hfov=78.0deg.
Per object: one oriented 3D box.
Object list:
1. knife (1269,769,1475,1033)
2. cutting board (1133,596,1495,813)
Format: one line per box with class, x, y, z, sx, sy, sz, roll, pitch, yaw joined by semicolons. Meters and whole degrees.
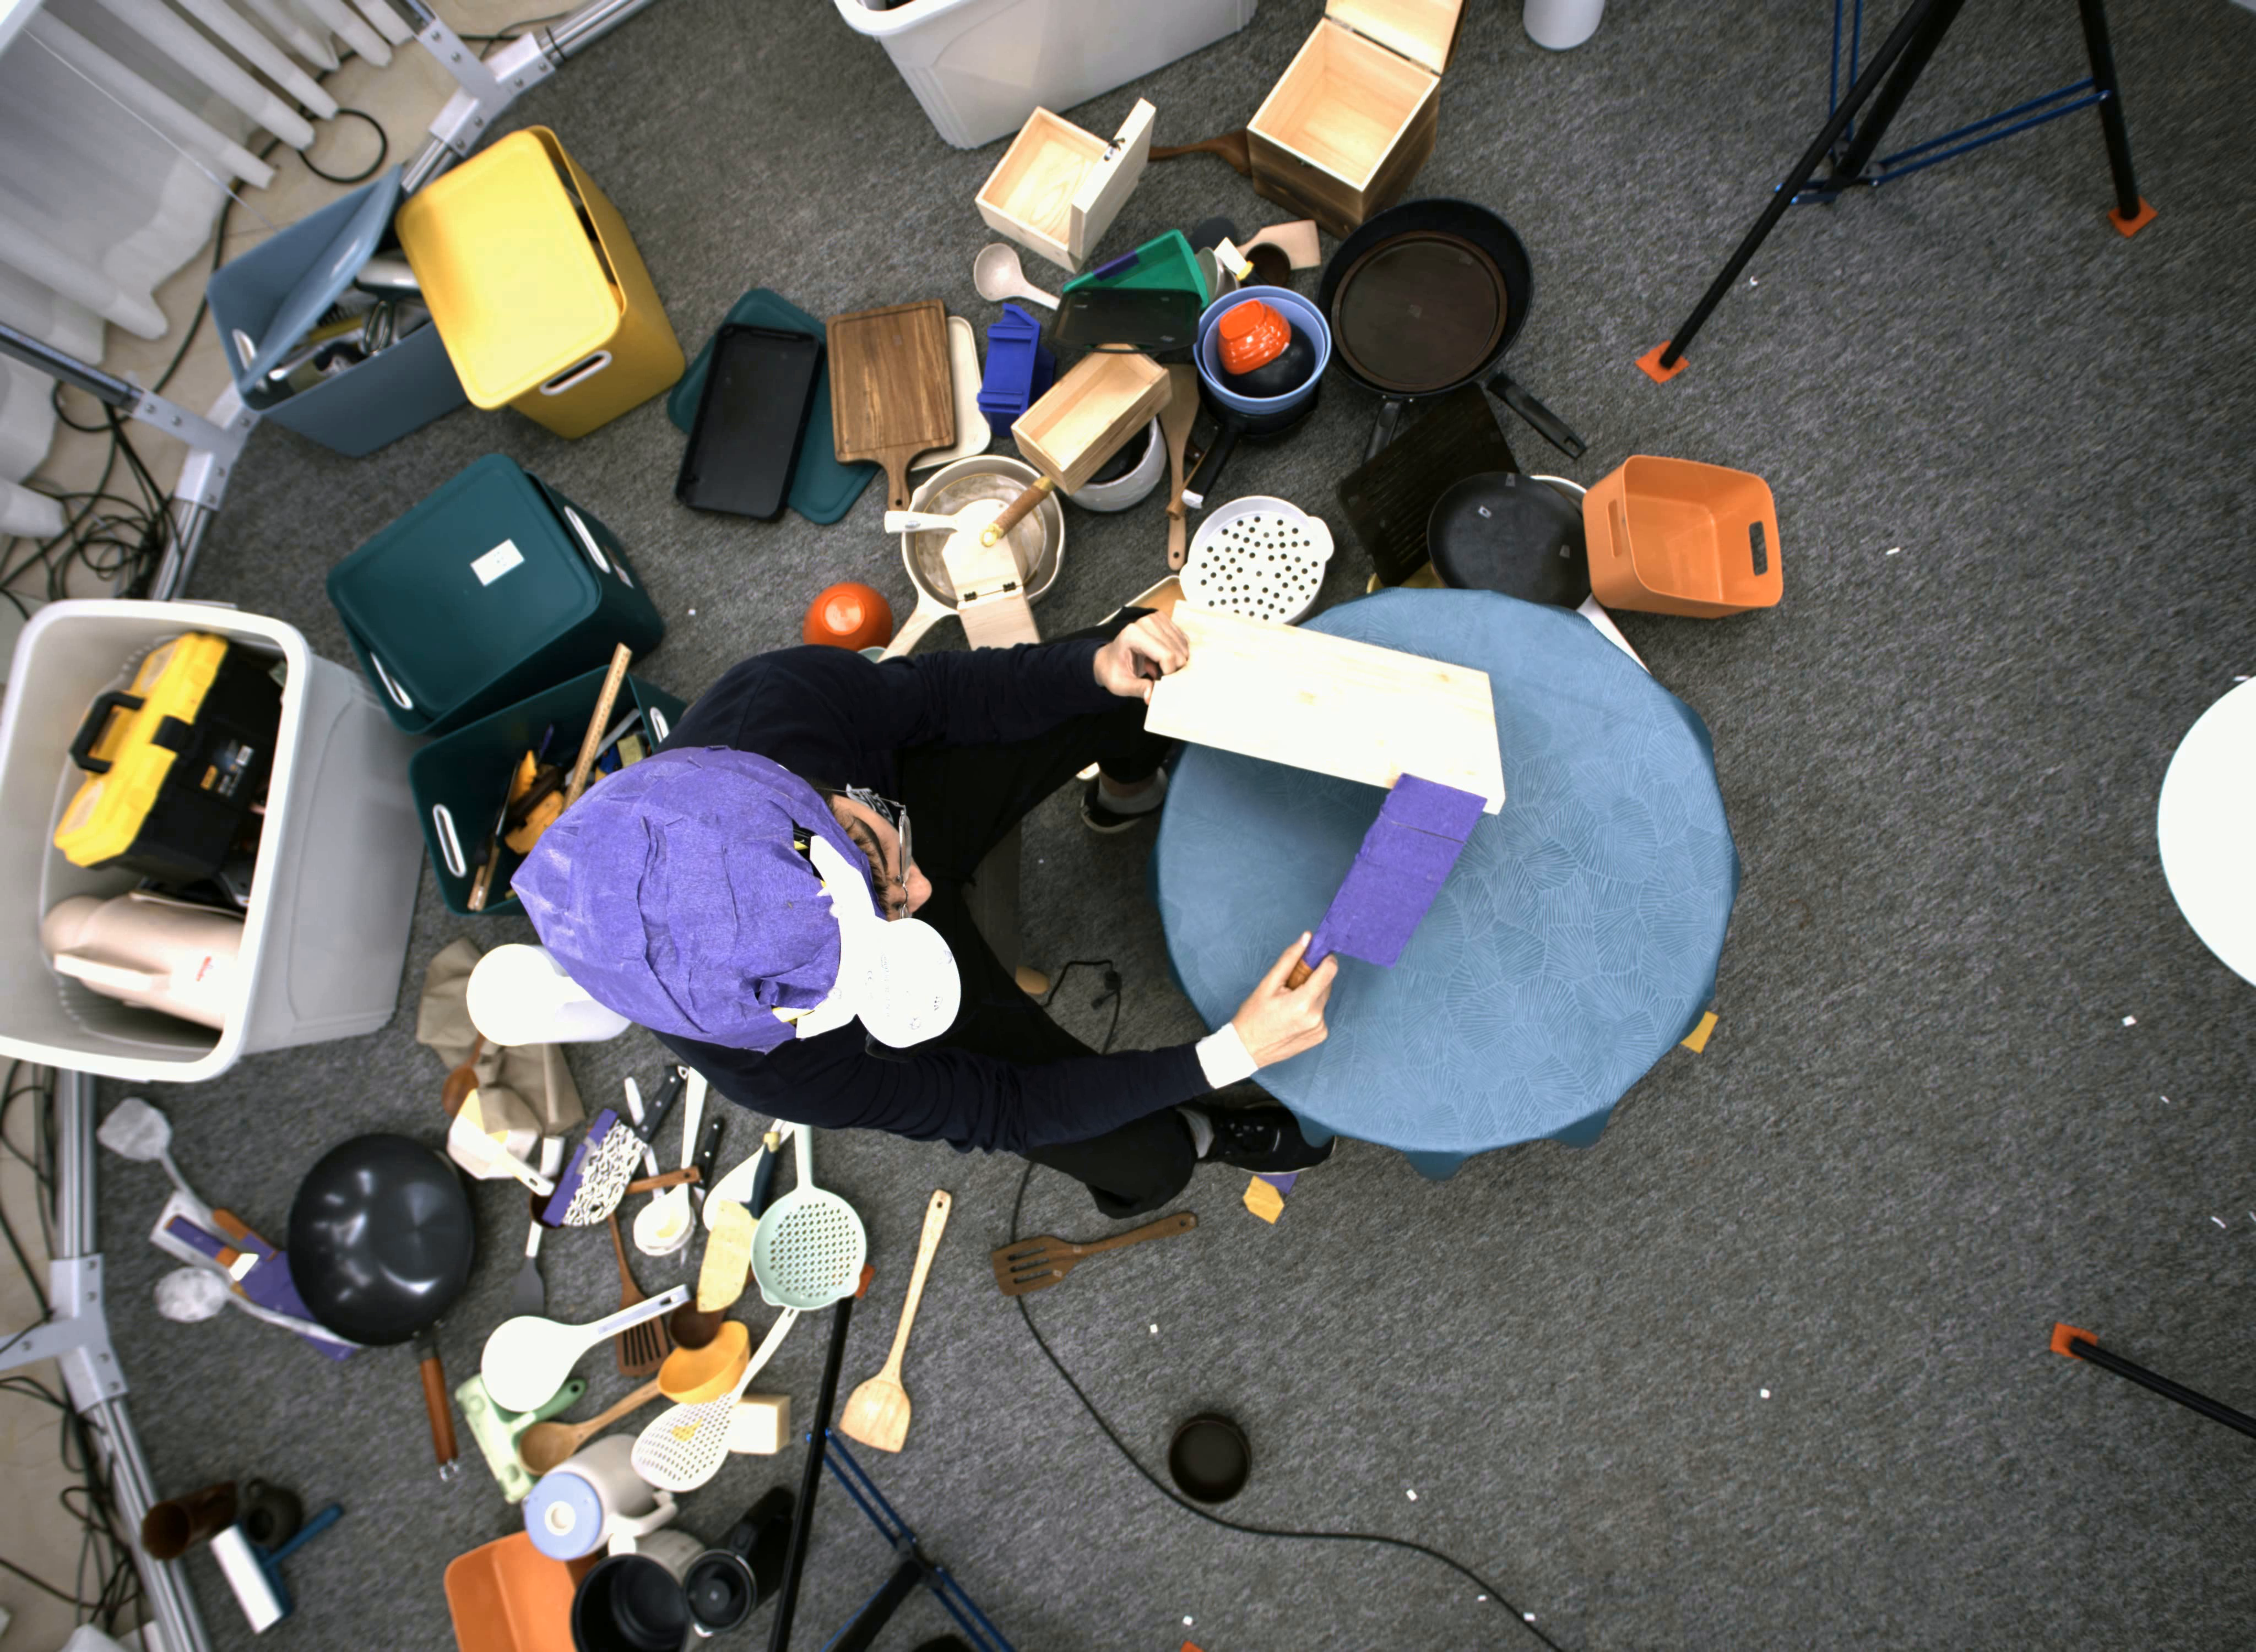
knife;0.235;0.086;1.331;0.104;0.031;0.323;17;124;-8
cutting board;0.191;-0.128;1.359;0.349;0.244;0.024;13;128;0
